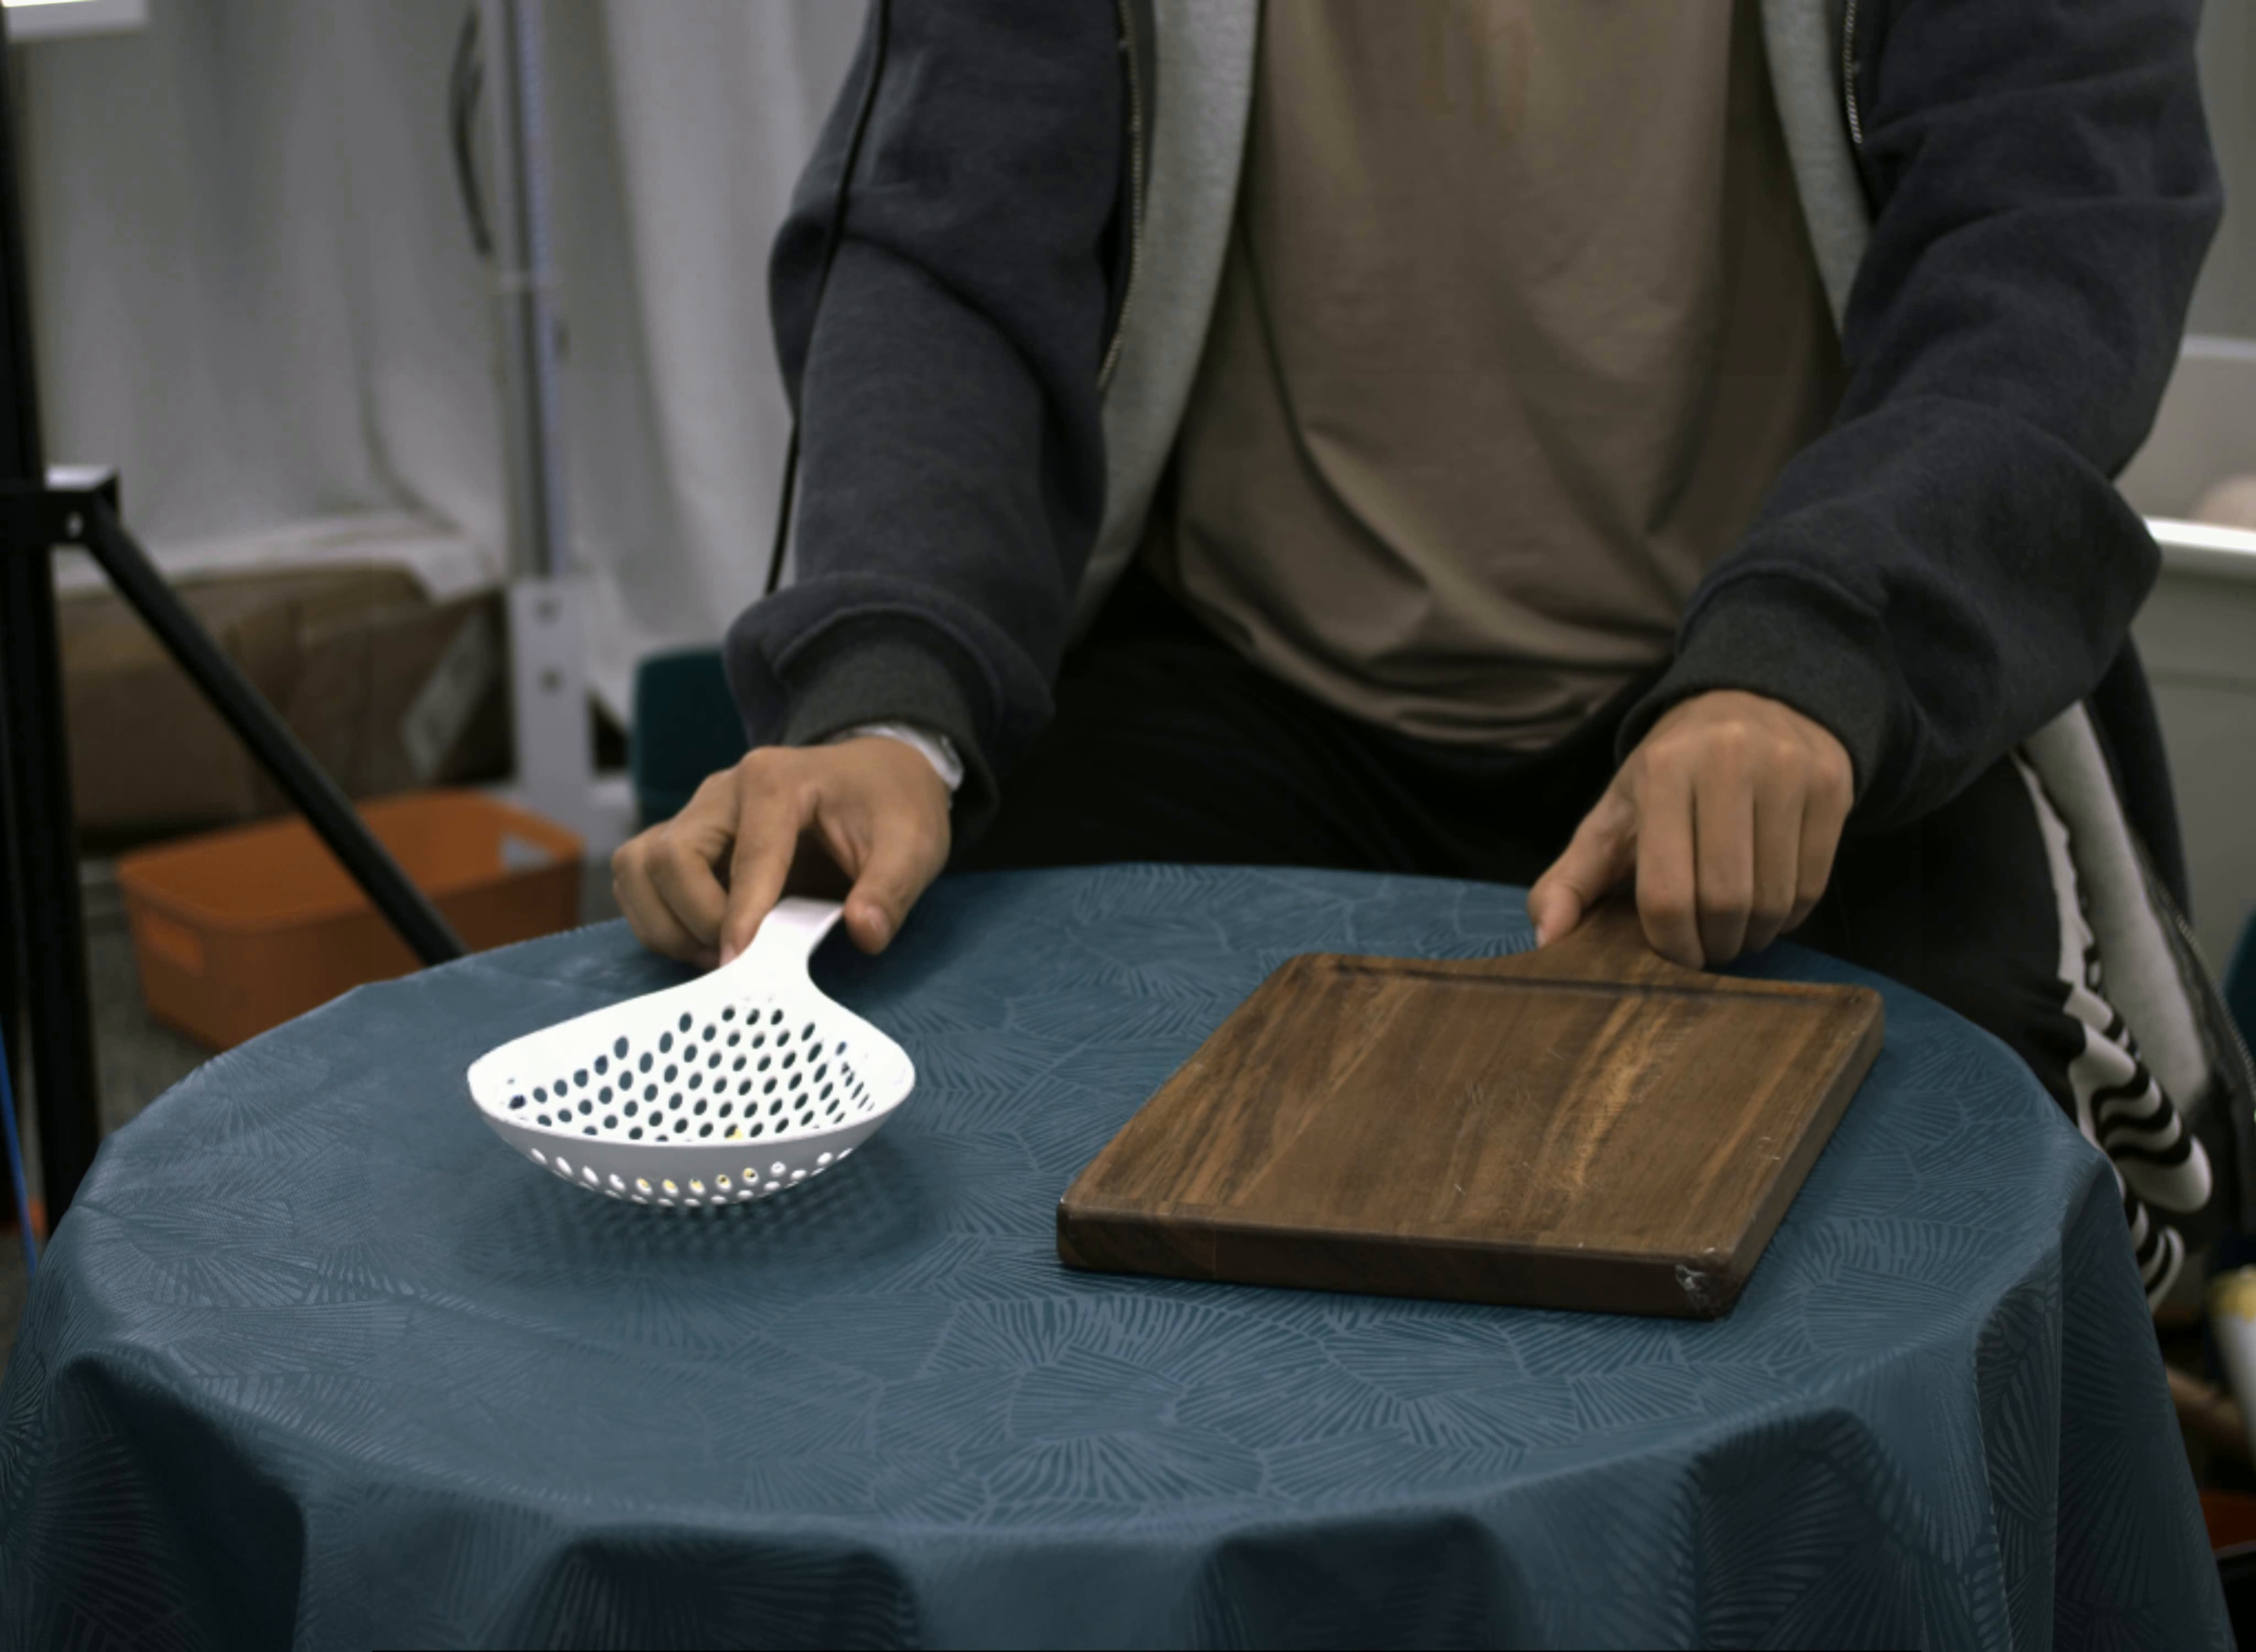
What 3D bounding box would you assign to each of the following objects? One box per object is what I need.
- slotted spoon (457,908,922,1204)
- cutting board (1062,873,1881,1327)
[{"bbox_3d":[-0.118,0.059,1.678,0.137,0.050,0.347,0,16,6],"label":"slotted spoon"},{"bbox_3d":[0.123,0.075,1.620,0.203,0.023,0.348,3,17,18],"label":"cutting board"}]
